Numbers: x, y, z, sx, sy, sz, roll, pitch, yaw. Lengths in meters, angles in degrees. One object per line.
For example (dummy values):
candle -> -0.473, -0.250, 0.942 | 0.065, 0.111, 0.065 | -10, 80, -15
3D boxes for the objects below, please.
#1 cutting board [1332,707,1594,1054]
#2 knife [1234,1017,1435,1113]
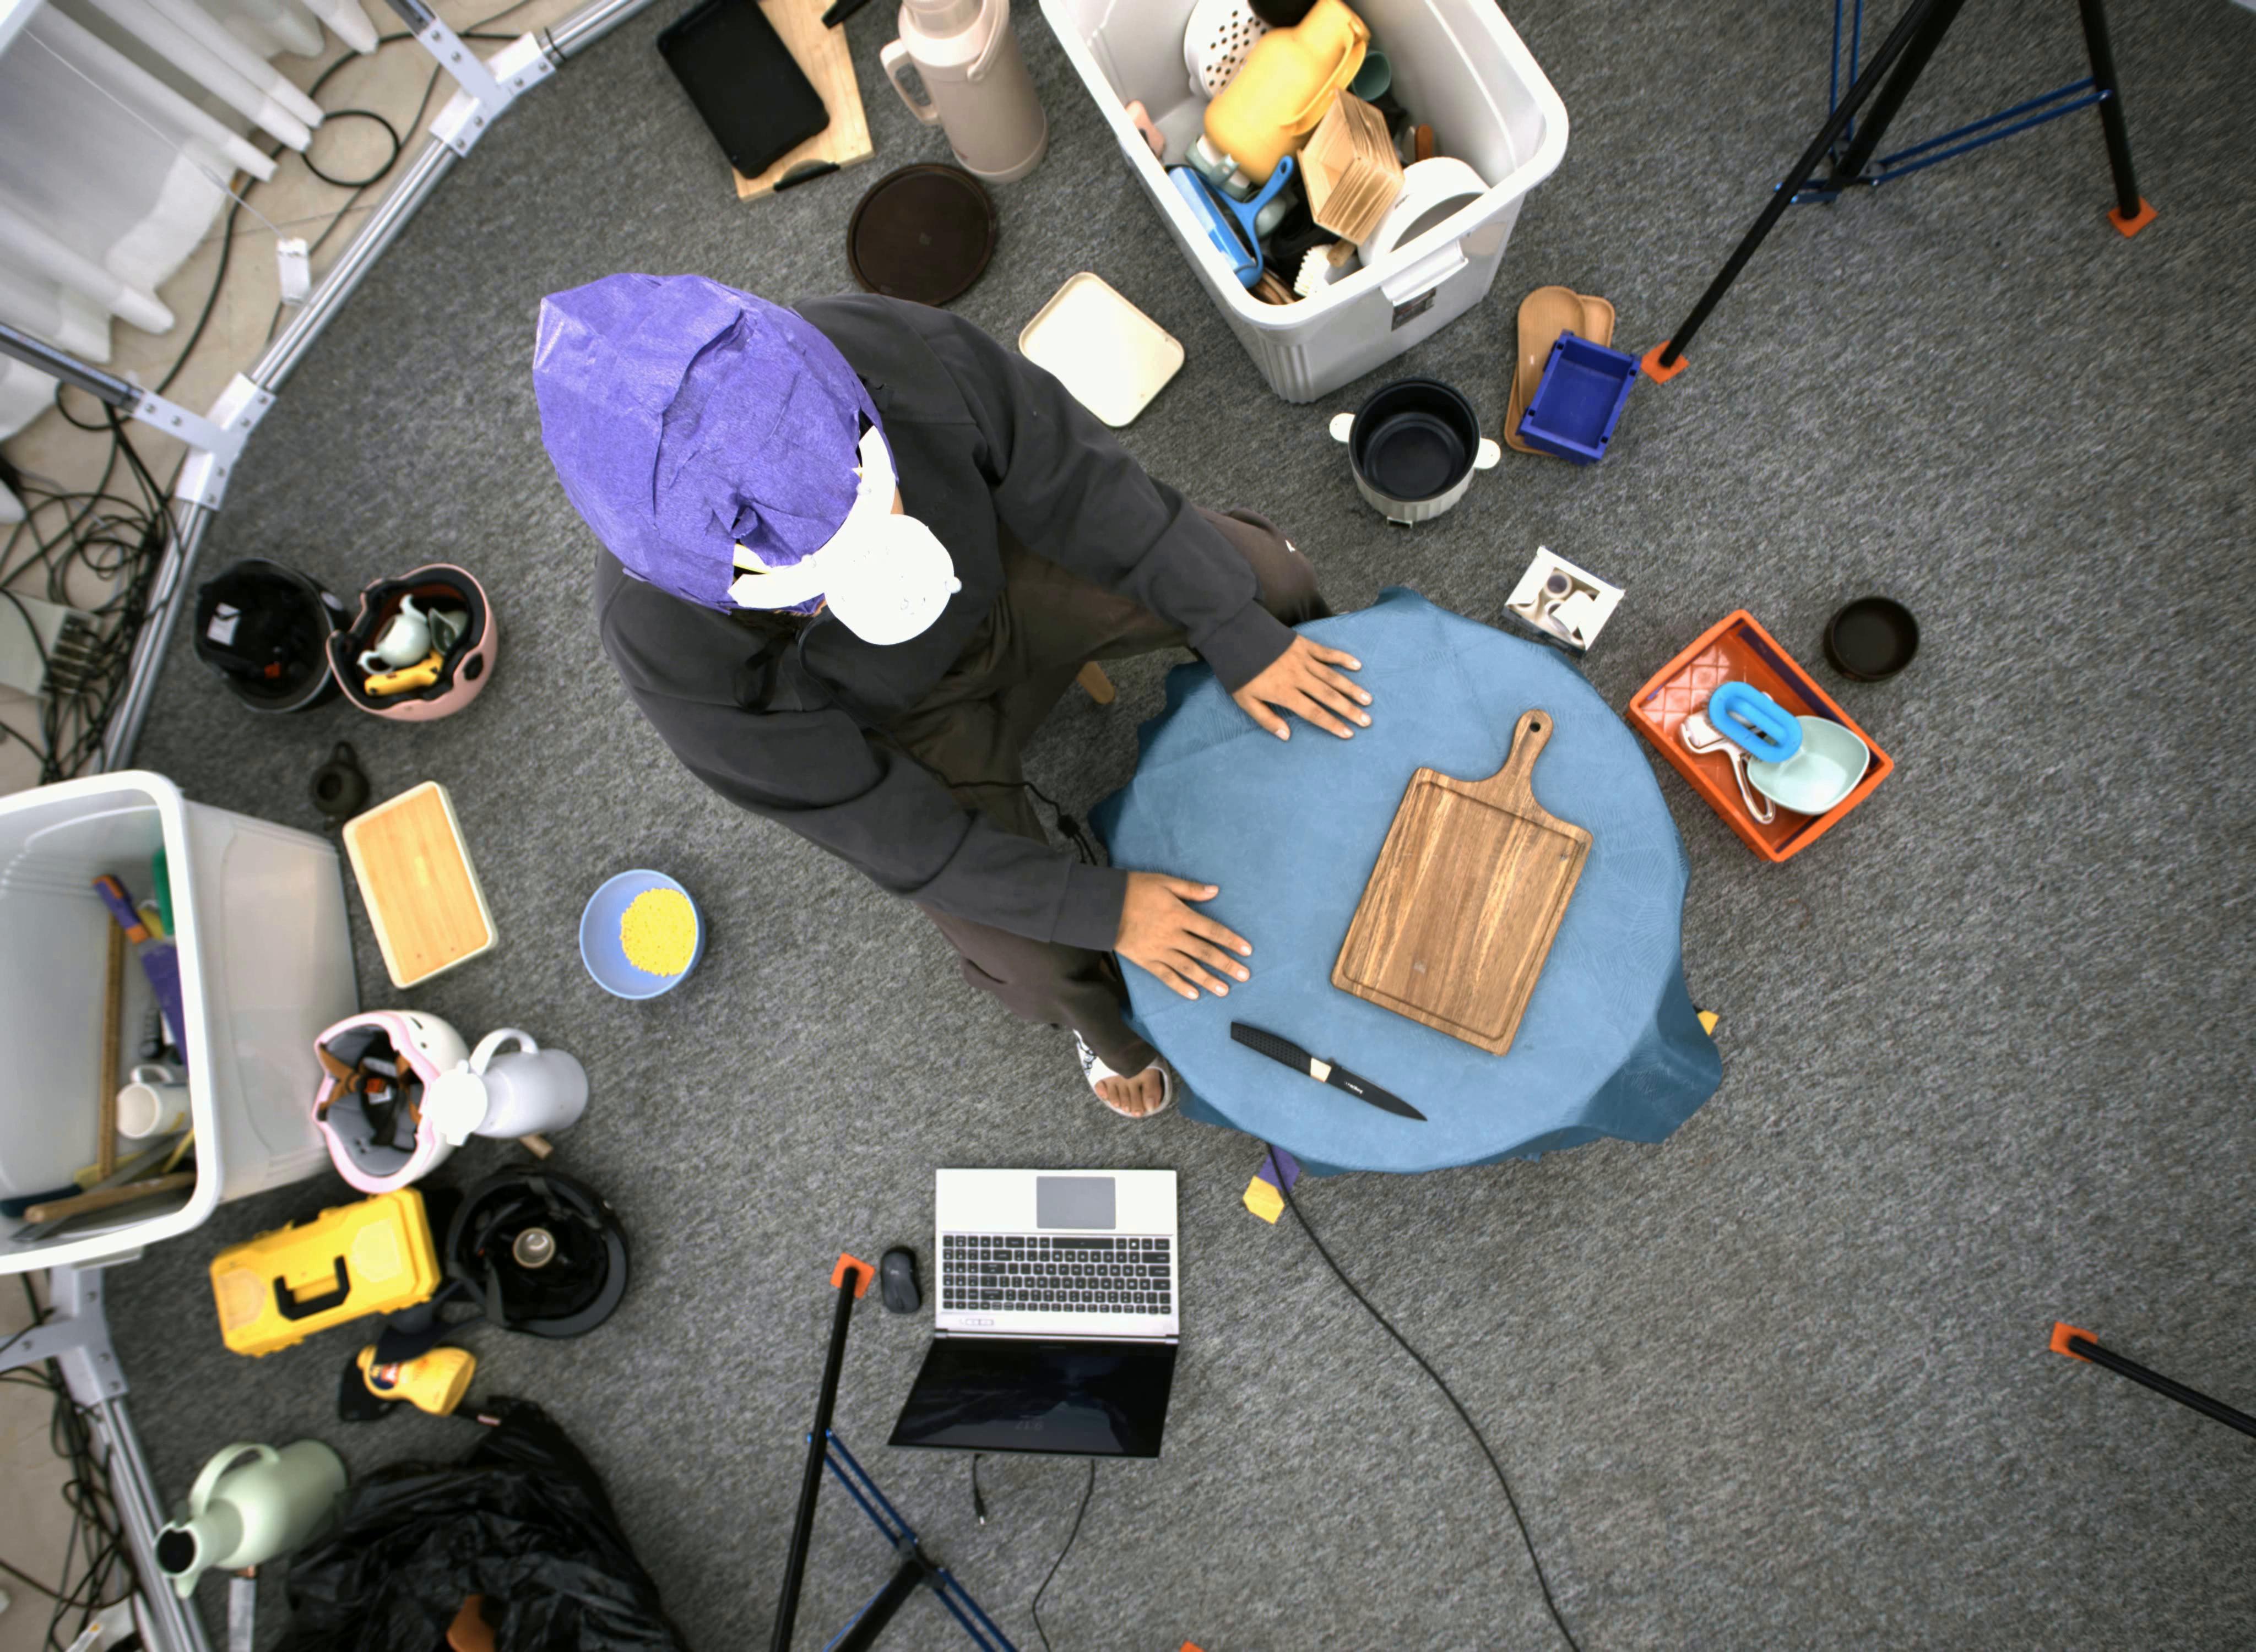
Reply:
cutting board -> 0.366, 0.039, 1.434 | 0.201, 0.023, 0.352 | 22, 91, 11
knife -> 0.216, 0.254, 1.455 | 0.225, 0.017, 0.026 | 25, 86, 11
